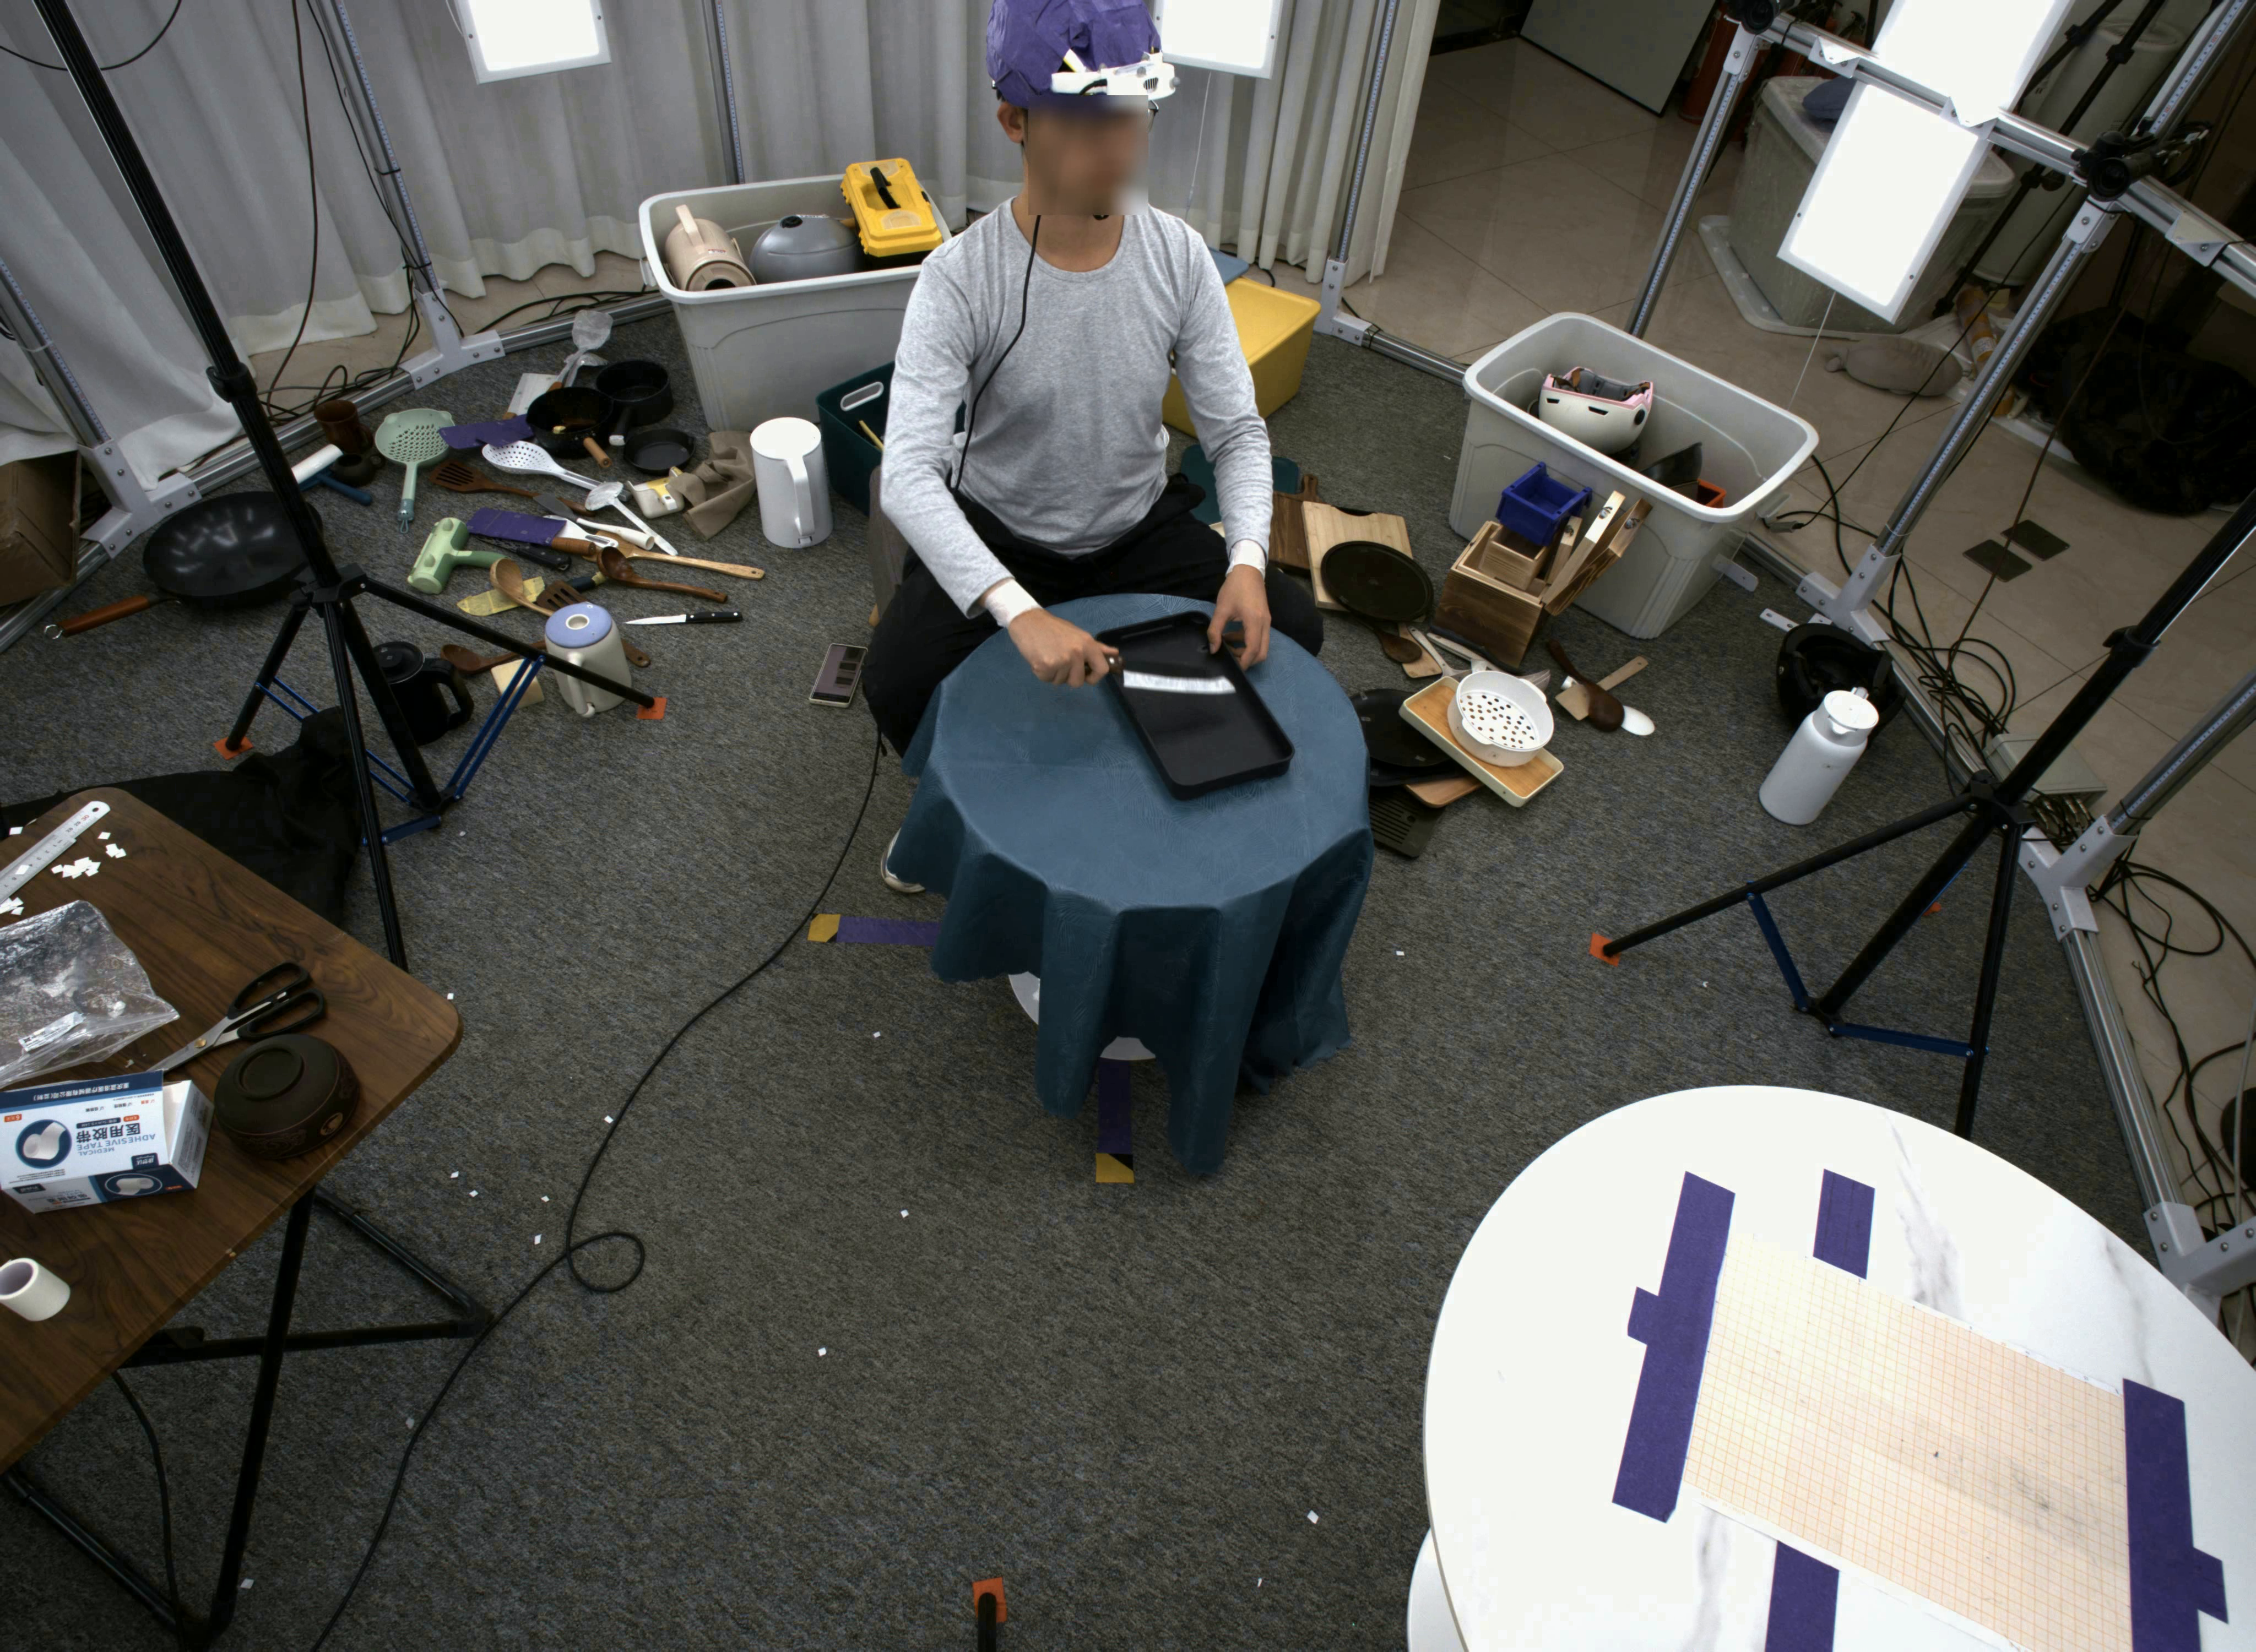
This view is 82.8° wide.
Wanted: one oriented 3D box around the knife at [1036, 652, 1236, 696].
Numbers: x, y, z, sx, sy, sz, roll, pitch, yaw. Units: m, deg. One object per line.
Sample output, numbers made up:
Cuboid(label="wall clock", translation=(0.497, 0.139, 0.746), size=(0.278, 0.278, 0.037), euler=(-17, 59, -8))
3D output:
Cuboid(label="knife", translation=(0.014, -0.205, 1.747), size=(0.288, 0.020, 0.051), euler=(7, 64, -17))

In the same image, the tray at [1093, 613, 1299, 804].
Cuboid(label="tray", translation=(0.089, -0.171, 1.799), size=(0.184, 0.036, 0.325), euler=(-17, 52, -17))
